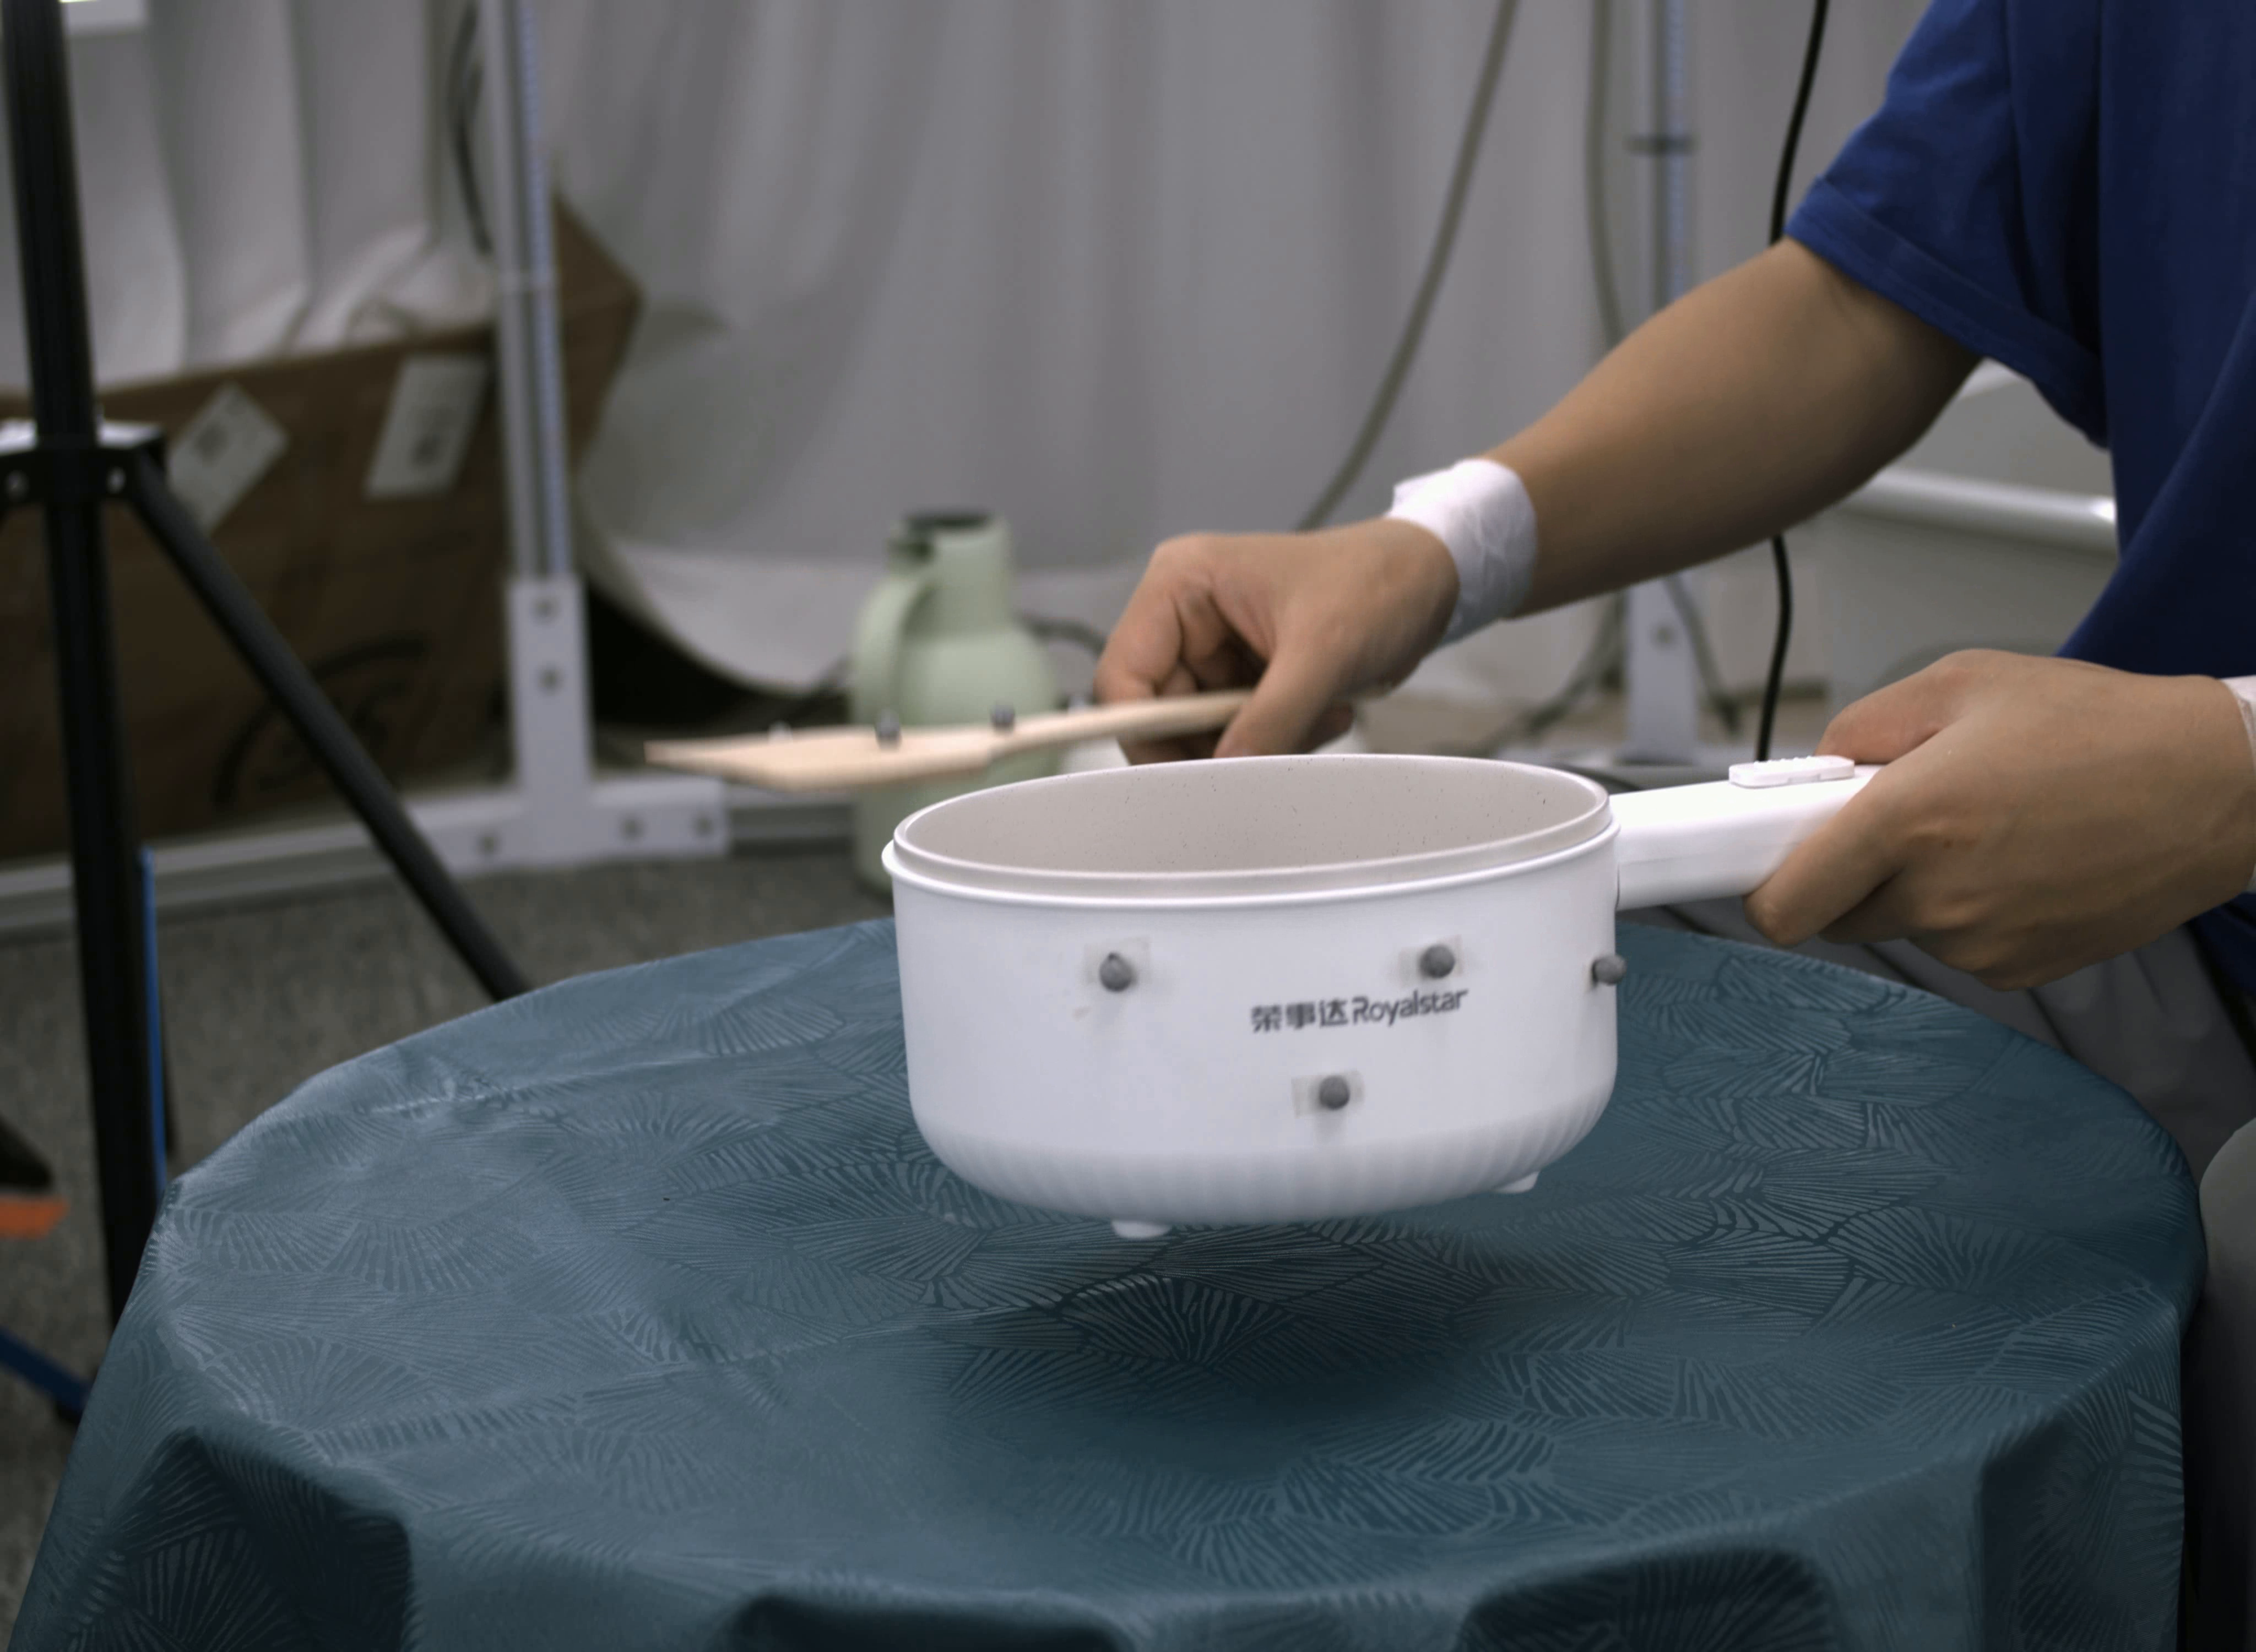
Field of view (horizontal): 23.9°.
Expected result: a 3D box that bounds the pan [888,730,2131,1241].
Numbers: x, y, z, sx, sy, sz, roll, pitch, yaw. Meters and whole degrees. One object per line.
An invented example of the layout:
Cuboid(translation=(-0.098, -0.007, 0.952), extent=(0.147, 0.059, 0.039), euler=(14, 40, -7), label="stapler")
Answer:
Cuboid(translation=(0.110, 0.039, 1.462), extent=(0.349, 0.102, 0.204), euler=(-6, 8, -15), label="pan")

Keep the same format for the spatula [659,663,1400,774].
Cuboid(translation=(-0.019, -0.035, 1.694), extent=(0.286, 0.011, 0.074), euler=(-8, 12, -43), label="spatula")
